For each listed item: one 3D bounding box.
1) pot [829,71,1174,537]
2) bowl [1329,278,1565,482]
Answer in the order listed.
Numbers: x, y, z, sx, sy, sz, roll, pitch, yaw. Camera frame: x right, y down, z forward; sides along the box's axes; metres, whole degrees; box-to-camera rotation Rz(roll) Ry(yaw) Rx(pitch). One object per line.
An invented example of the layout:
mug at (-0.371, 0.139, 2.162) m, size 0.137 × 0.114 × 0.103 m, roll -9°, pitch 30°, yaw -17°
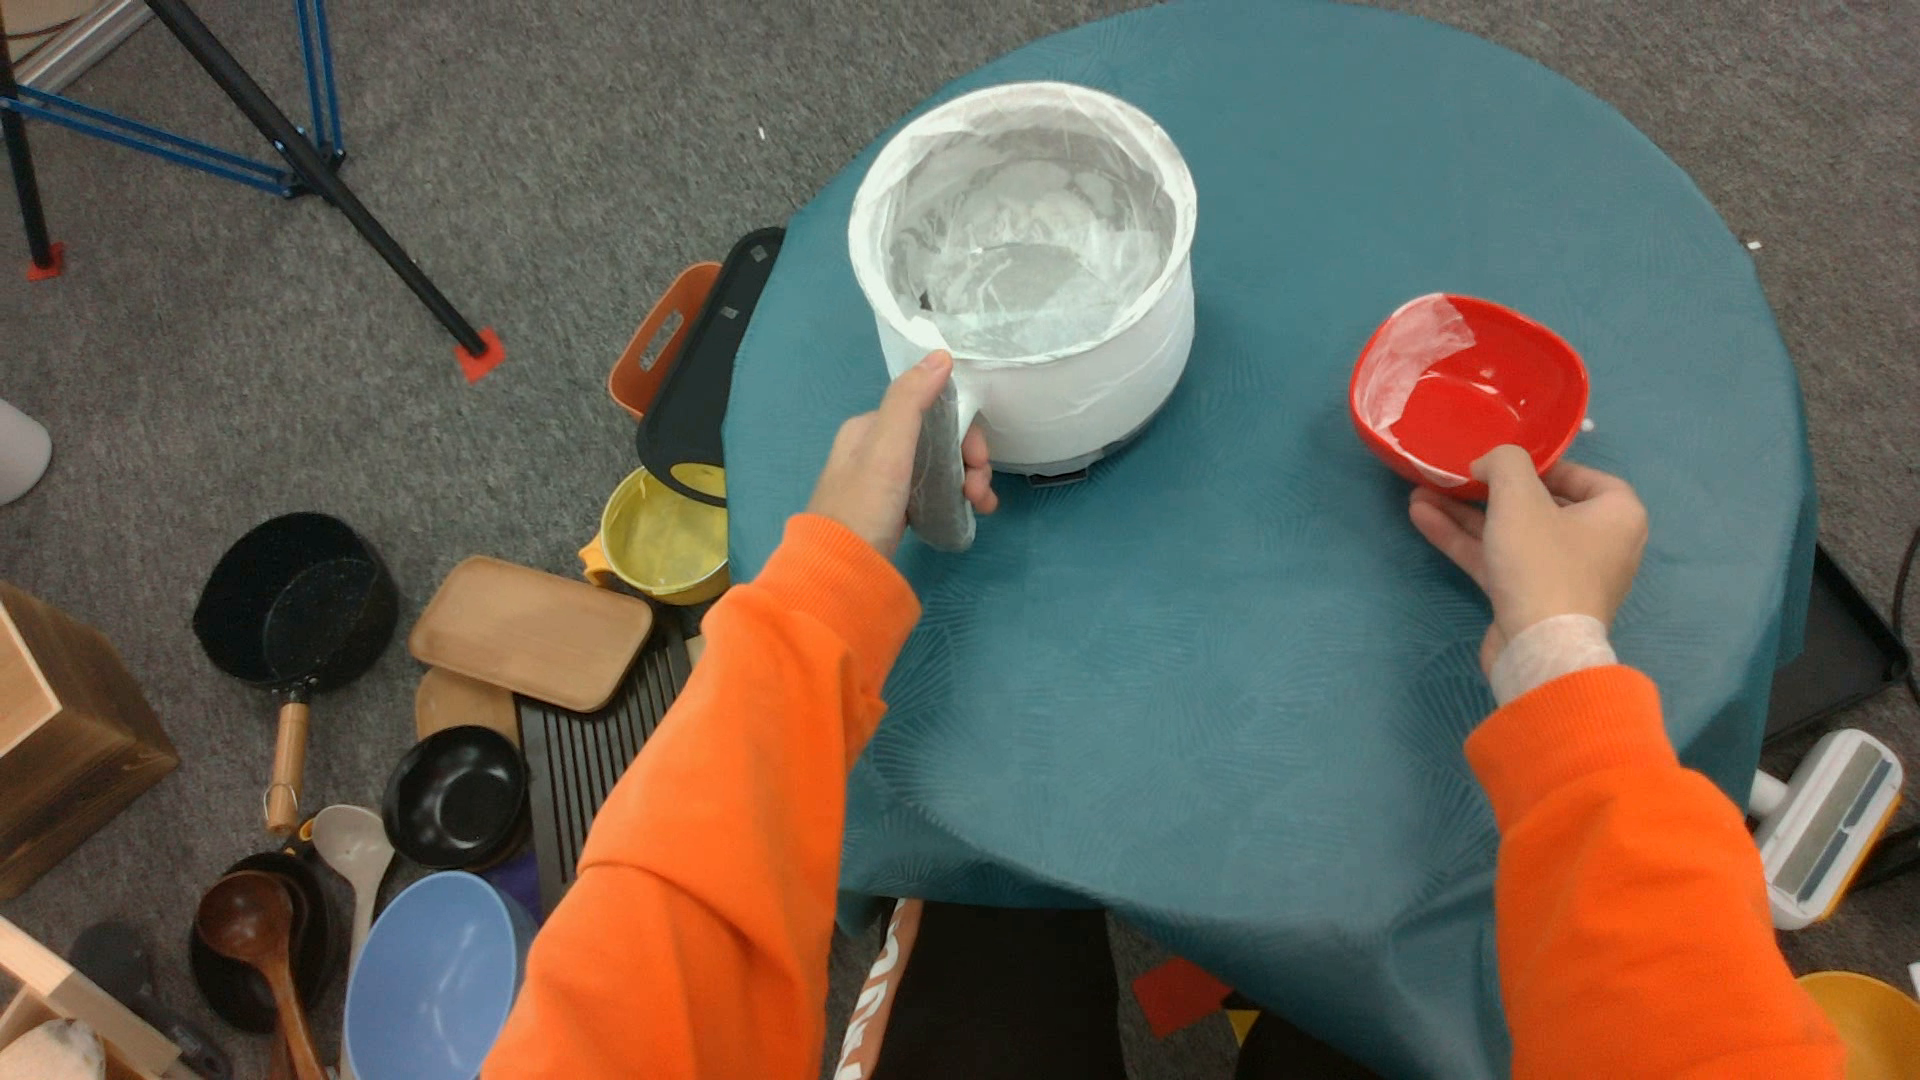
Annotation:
pot at (0.018, -0.121, 0.745) m, size 0.178 × 0.136 × 0.234 m, roll 17°, pitch 68°, yaw 16°
bowl at (0.247, -0.075, 0.716) m, size 0.119 × 0.051 × 0.119 m, roll -1°, pitch 61°, yaw 3°
